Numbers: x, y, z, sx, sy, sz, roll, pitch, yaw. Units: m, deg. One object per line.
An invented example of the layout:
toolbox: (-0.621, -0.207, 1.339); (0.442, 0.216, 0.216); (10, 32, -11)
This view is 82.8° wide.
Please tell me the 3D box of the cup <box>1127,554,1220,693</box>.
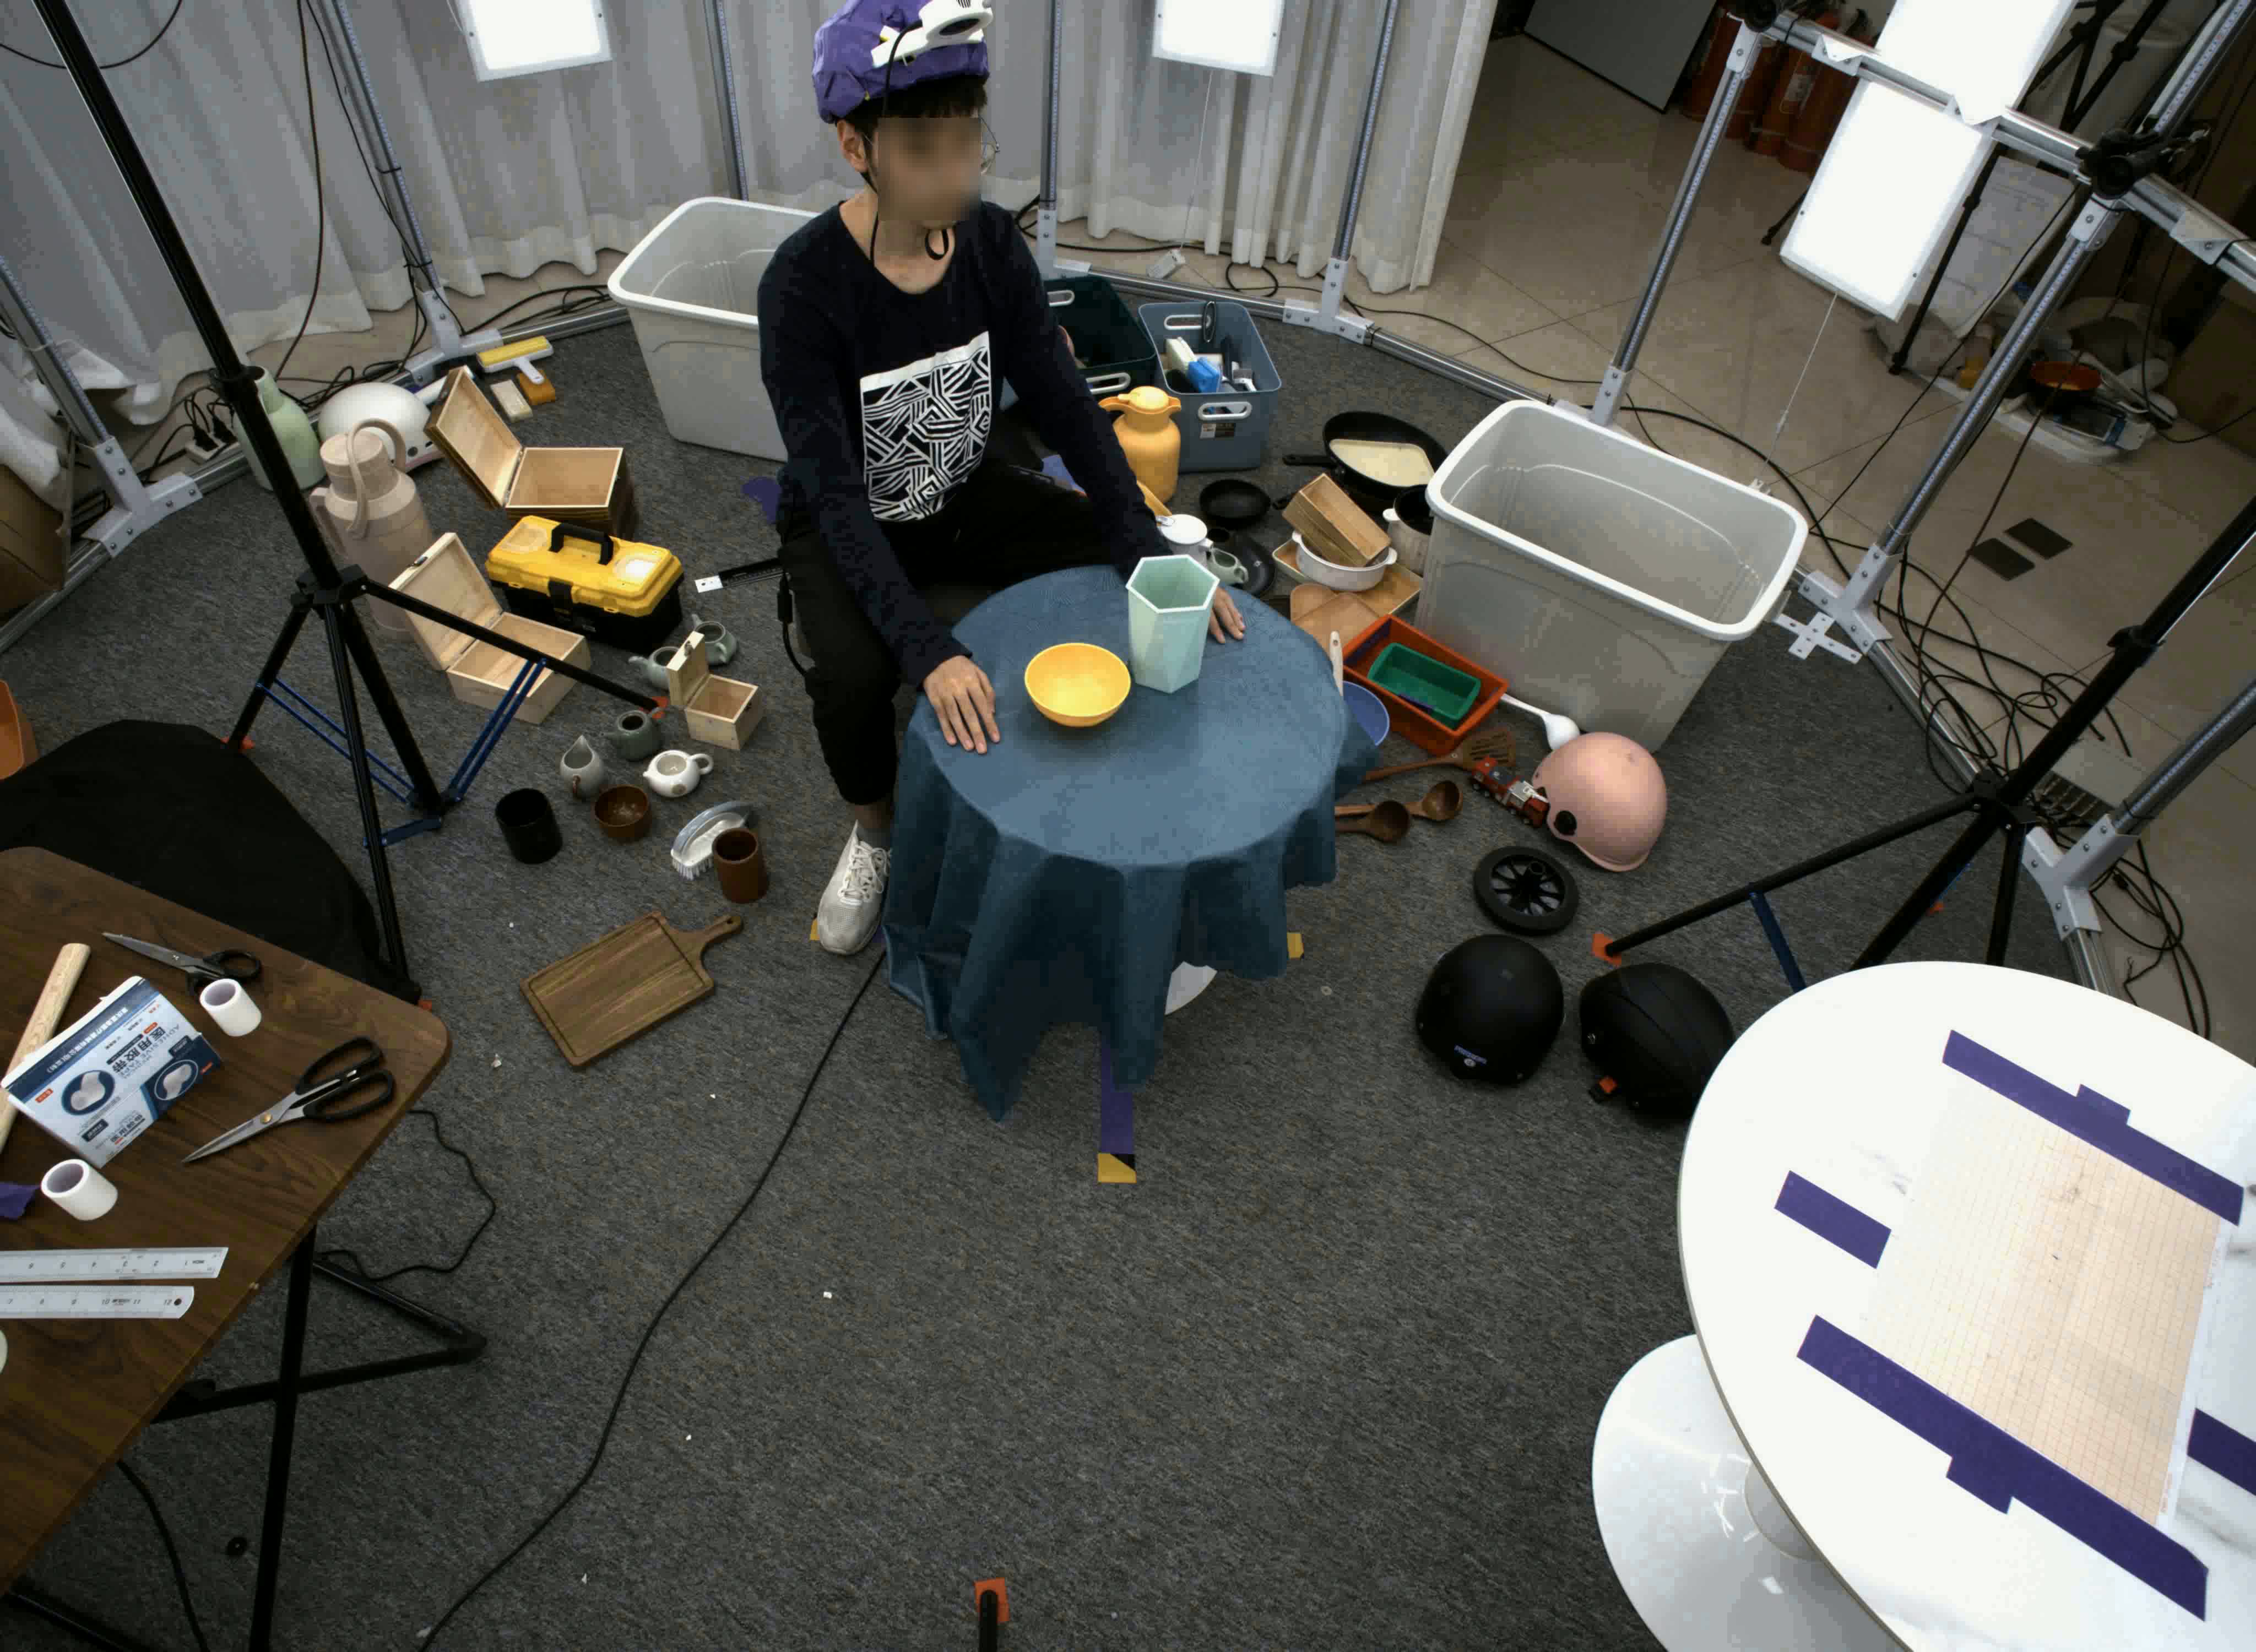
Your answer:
cup: (0.058, -0.281, 1.810); (0.131, 0.159, 0.118); (-6, 48, -10)

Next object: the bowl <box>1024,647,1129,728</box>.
bowl: (-0.073, -0.182, 1.786); (0.145, 0.058, 0.149); (2, 46, -2)
